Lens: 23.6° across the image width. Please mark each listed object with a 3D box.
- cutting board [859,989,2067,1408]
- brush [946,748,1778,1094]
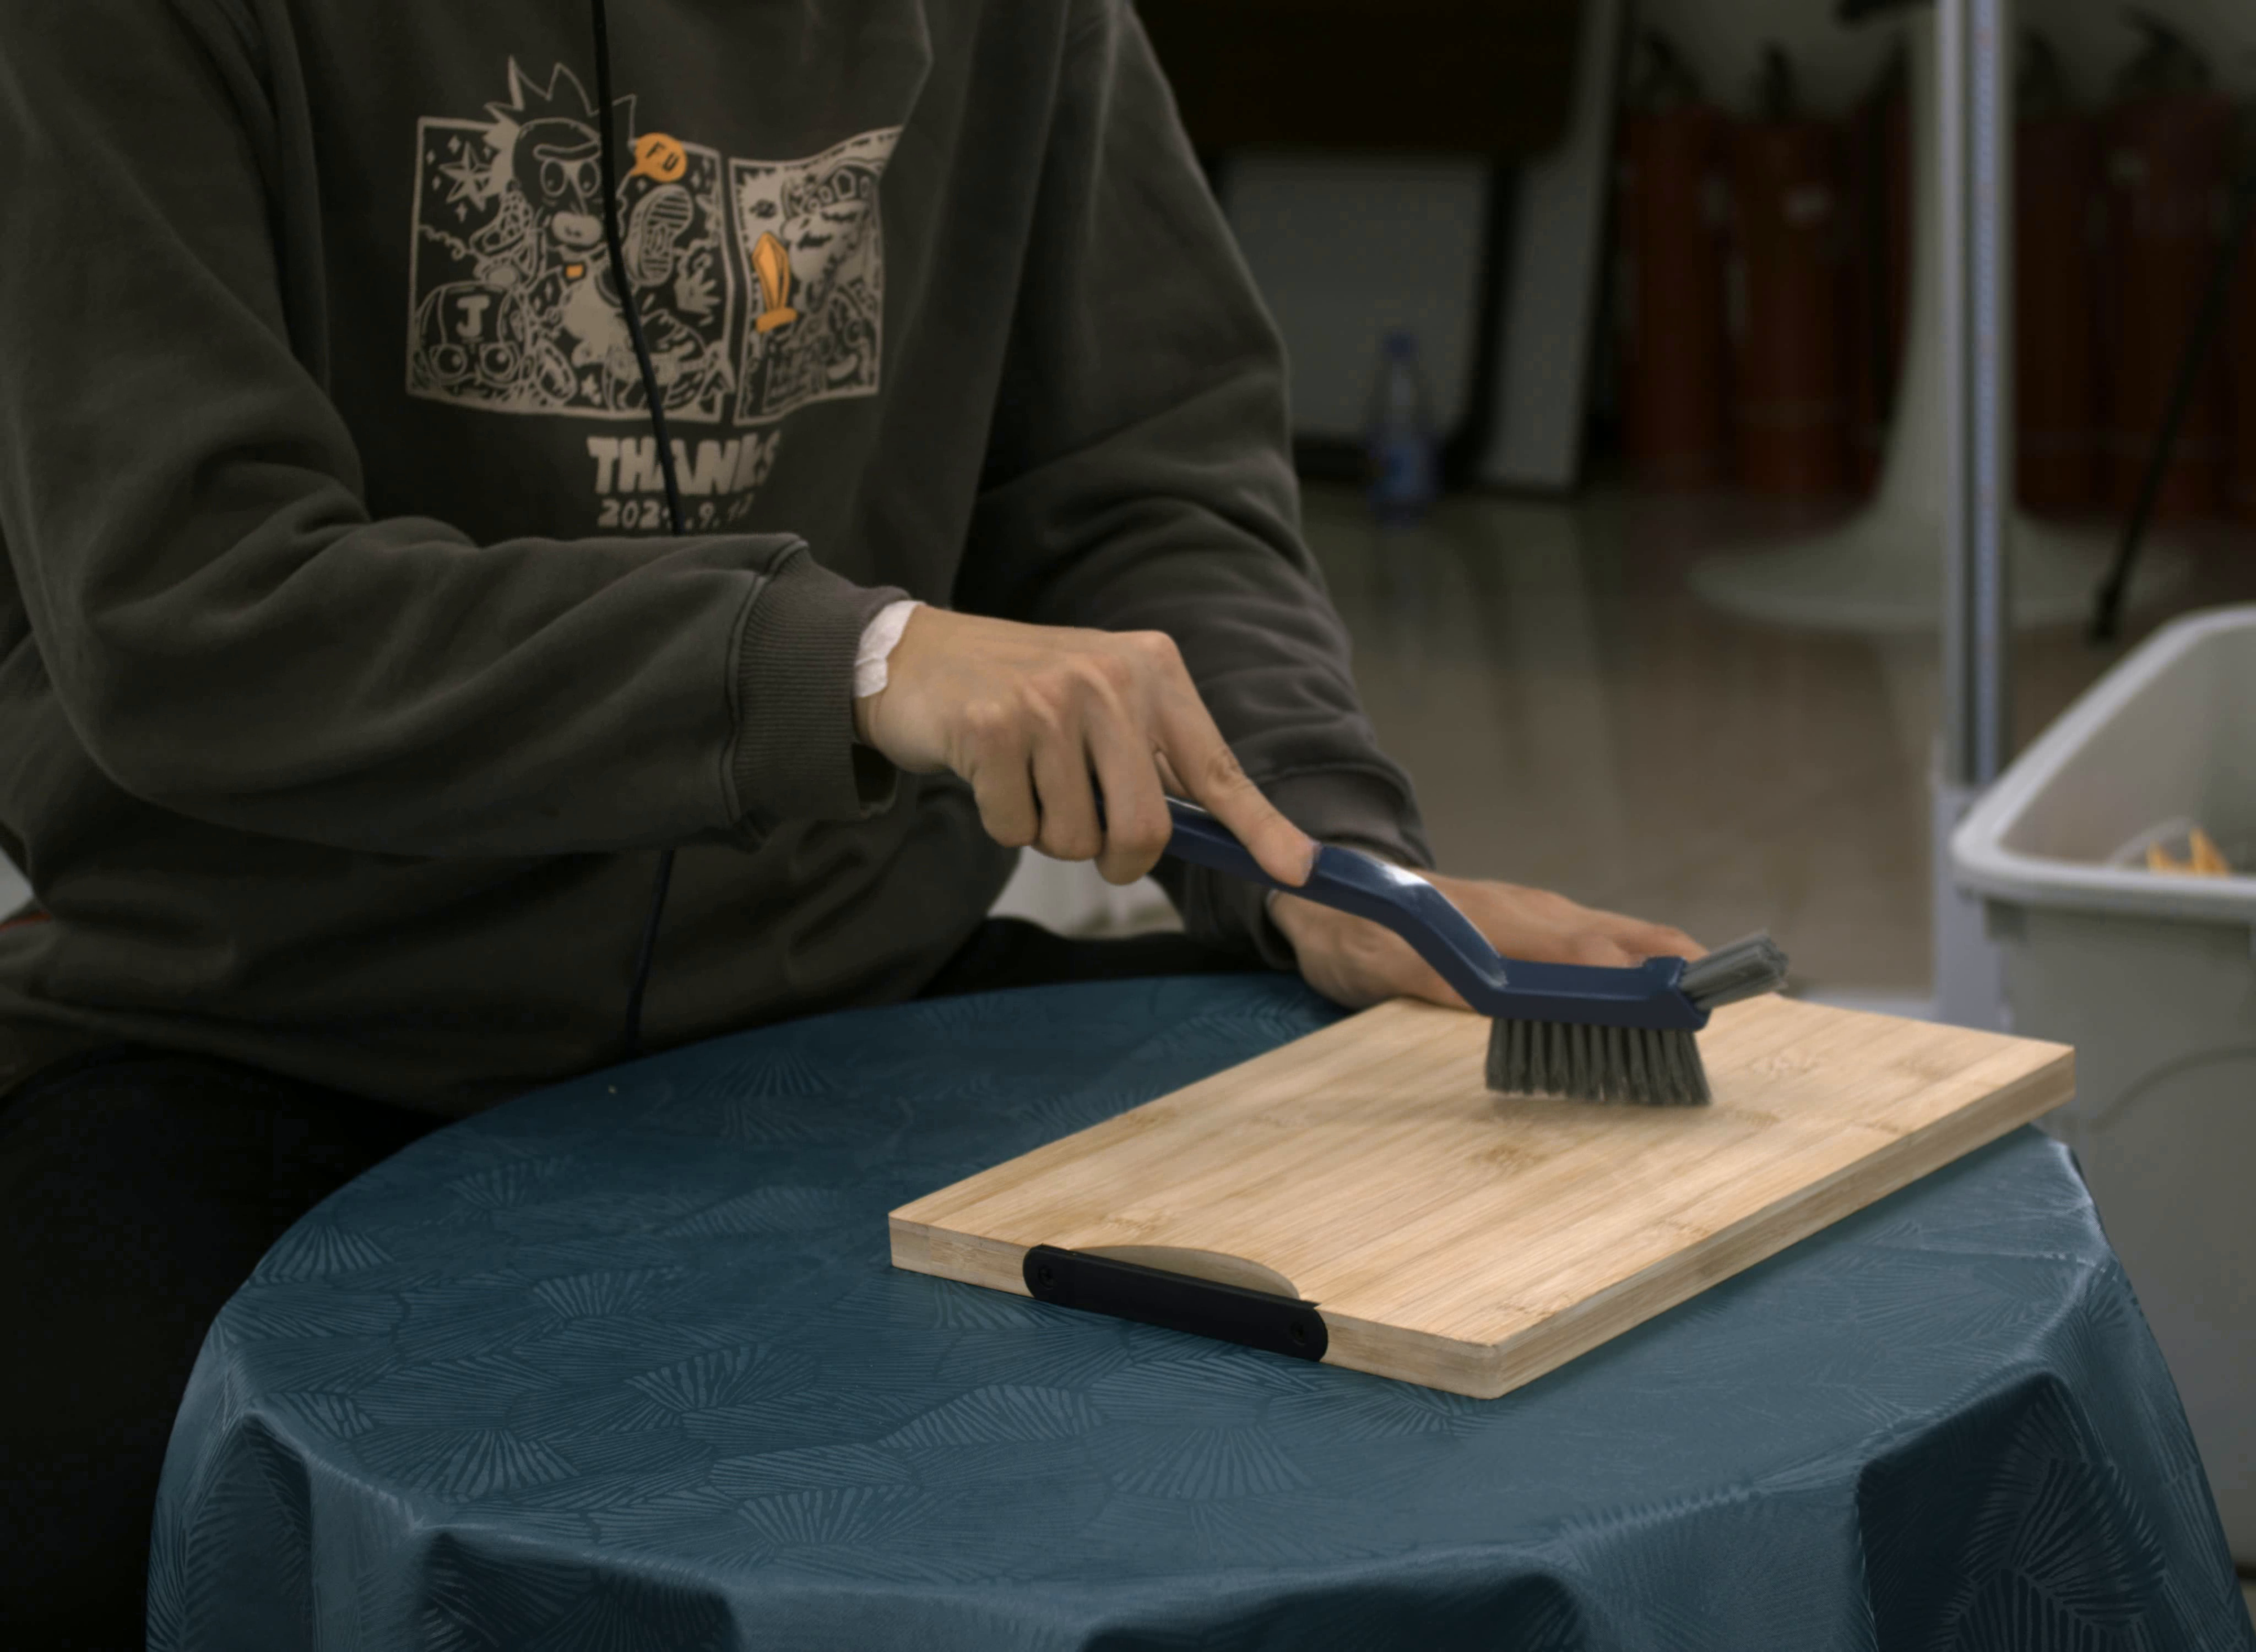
[{"bbox_3d":[0.116,0.112,1.751,0.252,0.024,0.342,6,17,39],"label":"cutting board"},{"bbox_3d":[0.074,0.016,1.769,0.272,0.097,0.033,26,31,6],"label":"brush"}]
